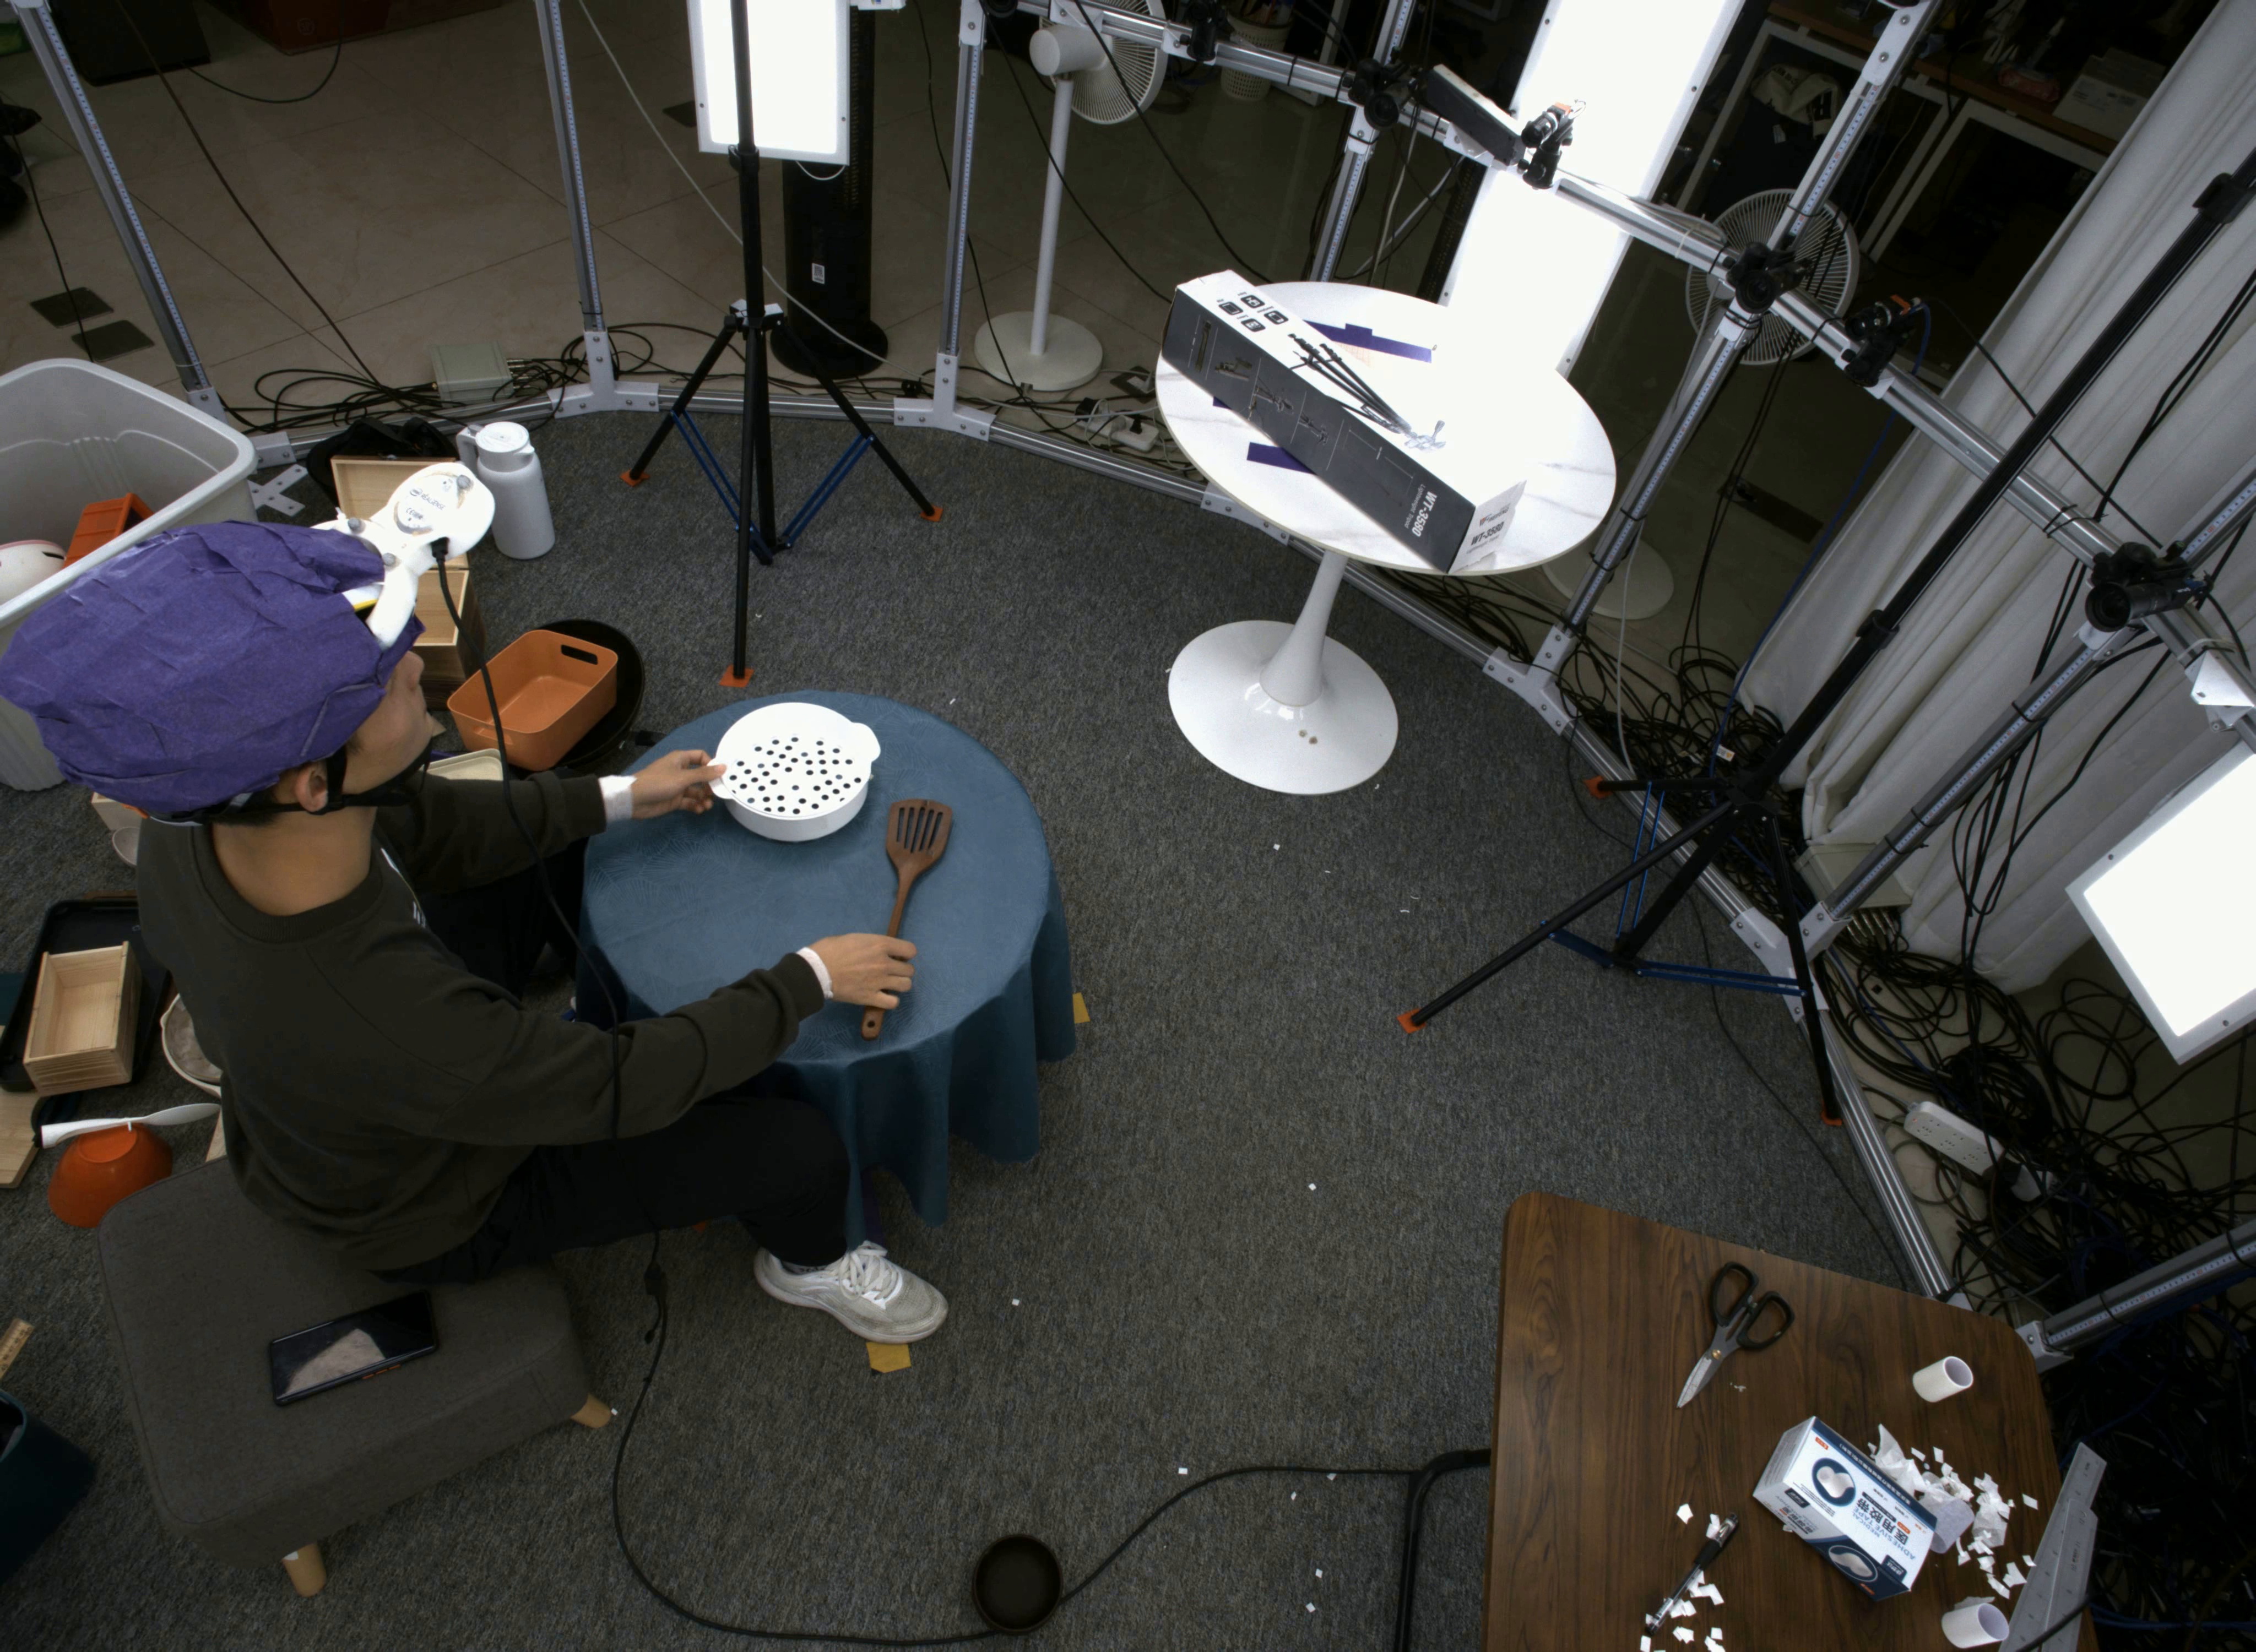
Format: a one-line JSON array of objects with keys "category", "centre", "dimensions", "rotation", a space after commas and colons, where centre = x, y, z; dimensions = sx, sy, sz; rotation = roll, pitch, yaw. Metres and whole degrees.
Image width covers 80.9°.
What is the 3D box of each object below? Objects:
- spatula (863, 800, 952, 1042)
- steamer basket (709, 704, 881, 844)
[{"category": "spatula", "centre": [-0.292, 0.111, 1.660], "dimensions": [0.085, 0.024, 0.378], "rotation": [8, 47, -4]}, {"category": "steamer basket", "centre": [-0.443, -0.070, 1.742], "dimensions": [0.231, 0.071, 0.196], "rotation": [-20, 58, -22]}]
